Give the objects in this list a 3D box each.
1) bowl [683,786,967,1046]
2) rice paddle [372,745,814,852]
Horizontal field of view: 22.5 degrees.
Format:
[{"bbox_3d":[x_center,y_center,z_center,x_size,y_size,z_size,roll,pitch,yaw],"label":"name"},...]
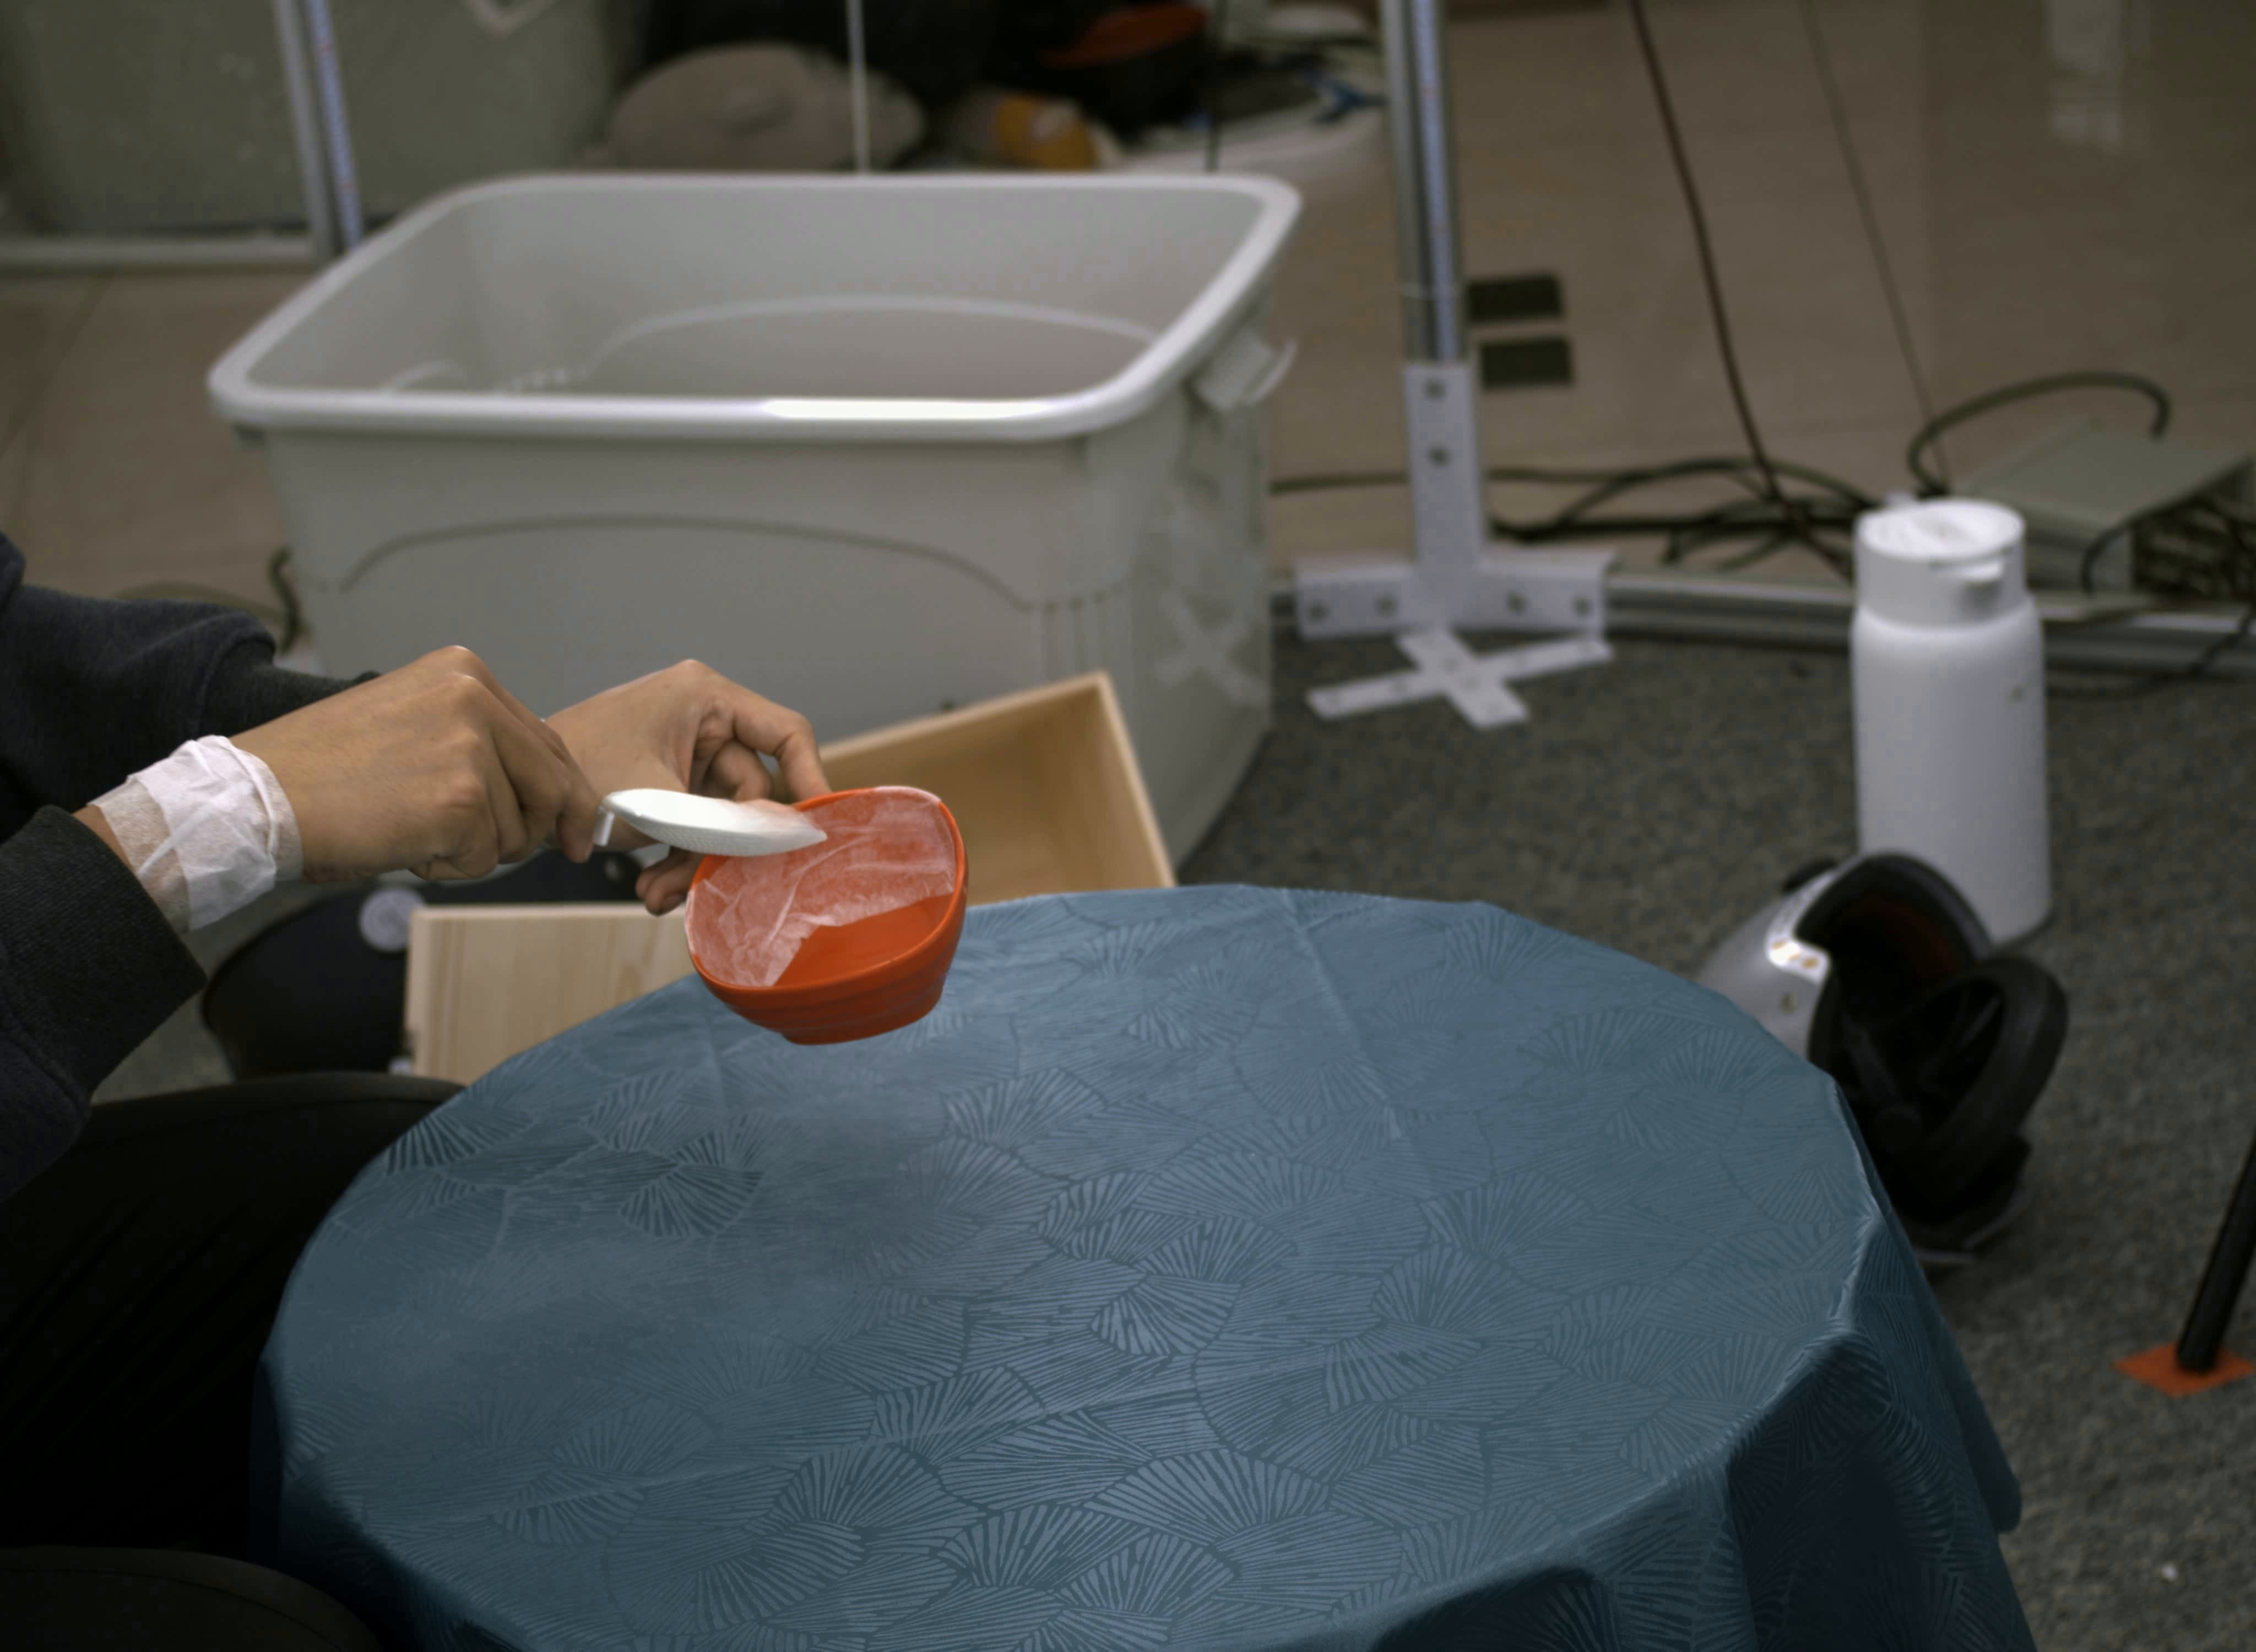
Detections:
[{"bbox_3d":[-0.109,0.041,2.143,0.119,0.052,0.117,-10,40,9],"label":"bowl"},{"bbox_3d":[-0.187,-0.009,2.012,0.068,0.029,0.205,19,9,36],"label":"rice paddle"}]
